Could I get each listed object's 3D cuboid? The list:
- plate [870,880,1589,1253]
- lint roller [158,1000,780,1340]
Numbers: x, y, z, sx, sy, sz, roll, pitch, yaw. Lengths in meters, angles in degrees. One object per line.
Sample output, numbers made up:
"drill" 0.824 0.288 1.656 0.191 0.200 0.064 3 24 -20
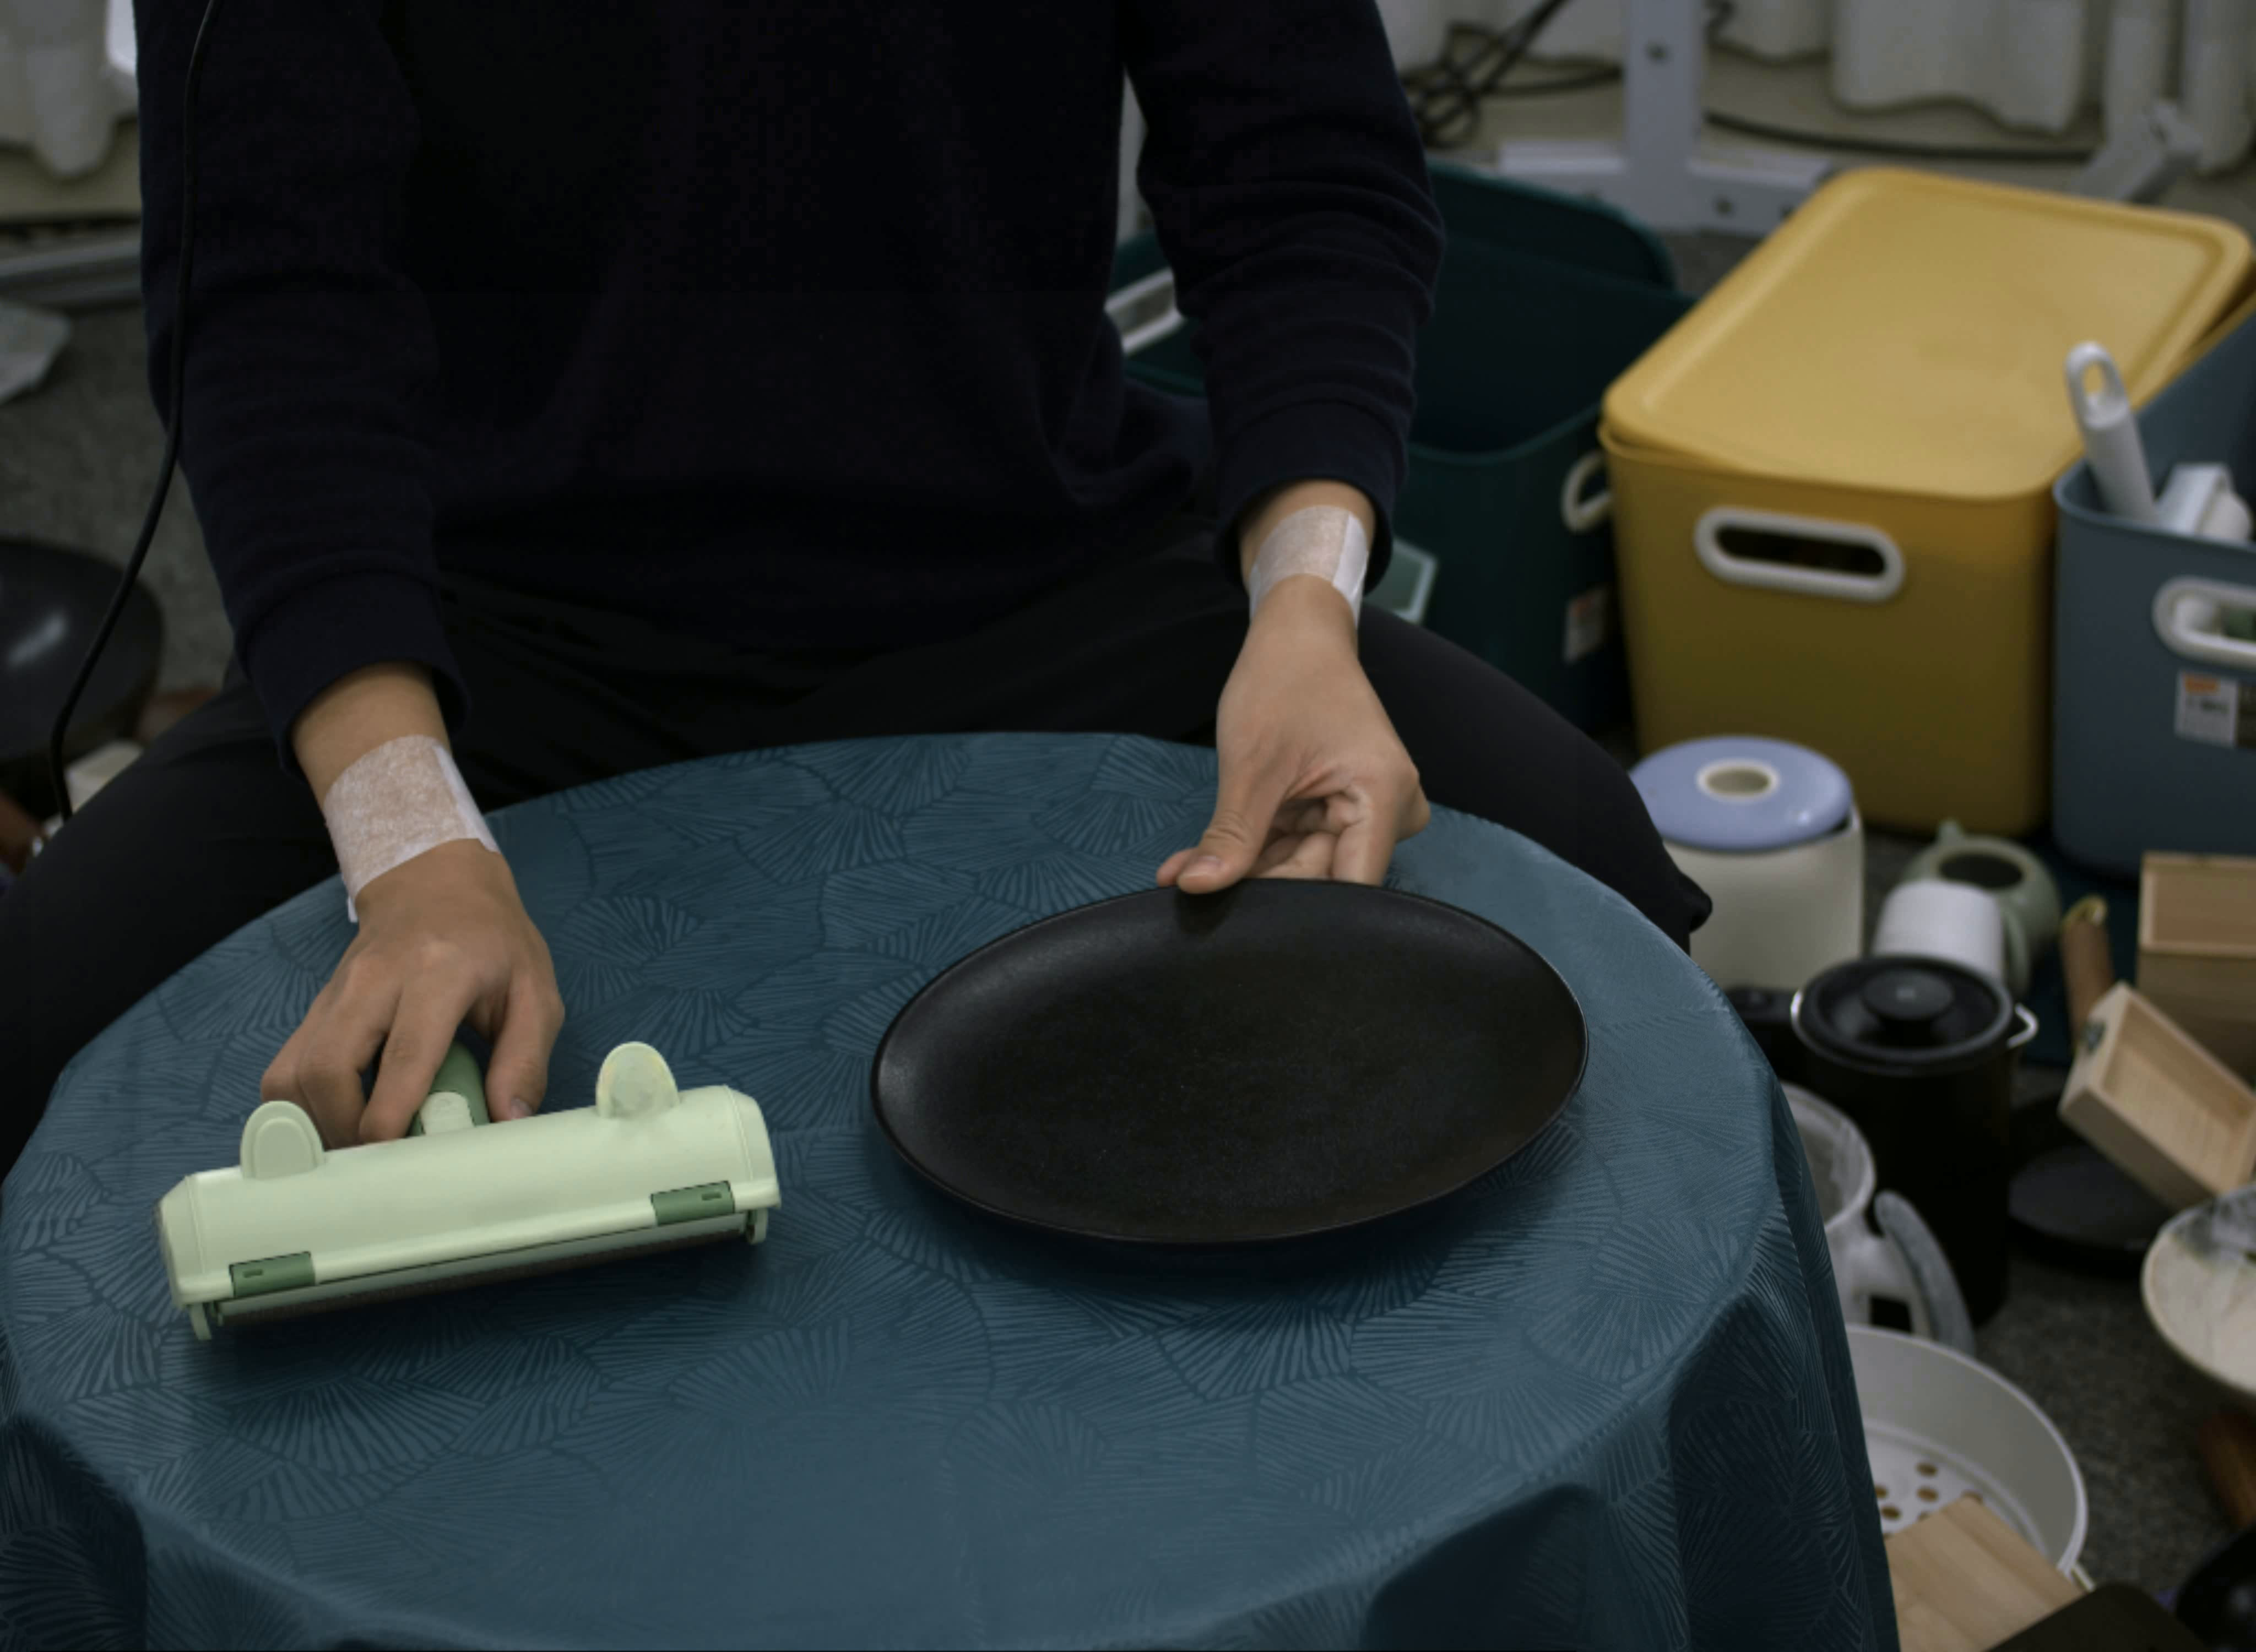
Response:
"plate" 0.034 0.085 1.898 0.243 0.023 0.248 -4 27 2
"lint roller" -0.228 0.089 1.856 0.198 0.081 0.185 -9 34 -13
